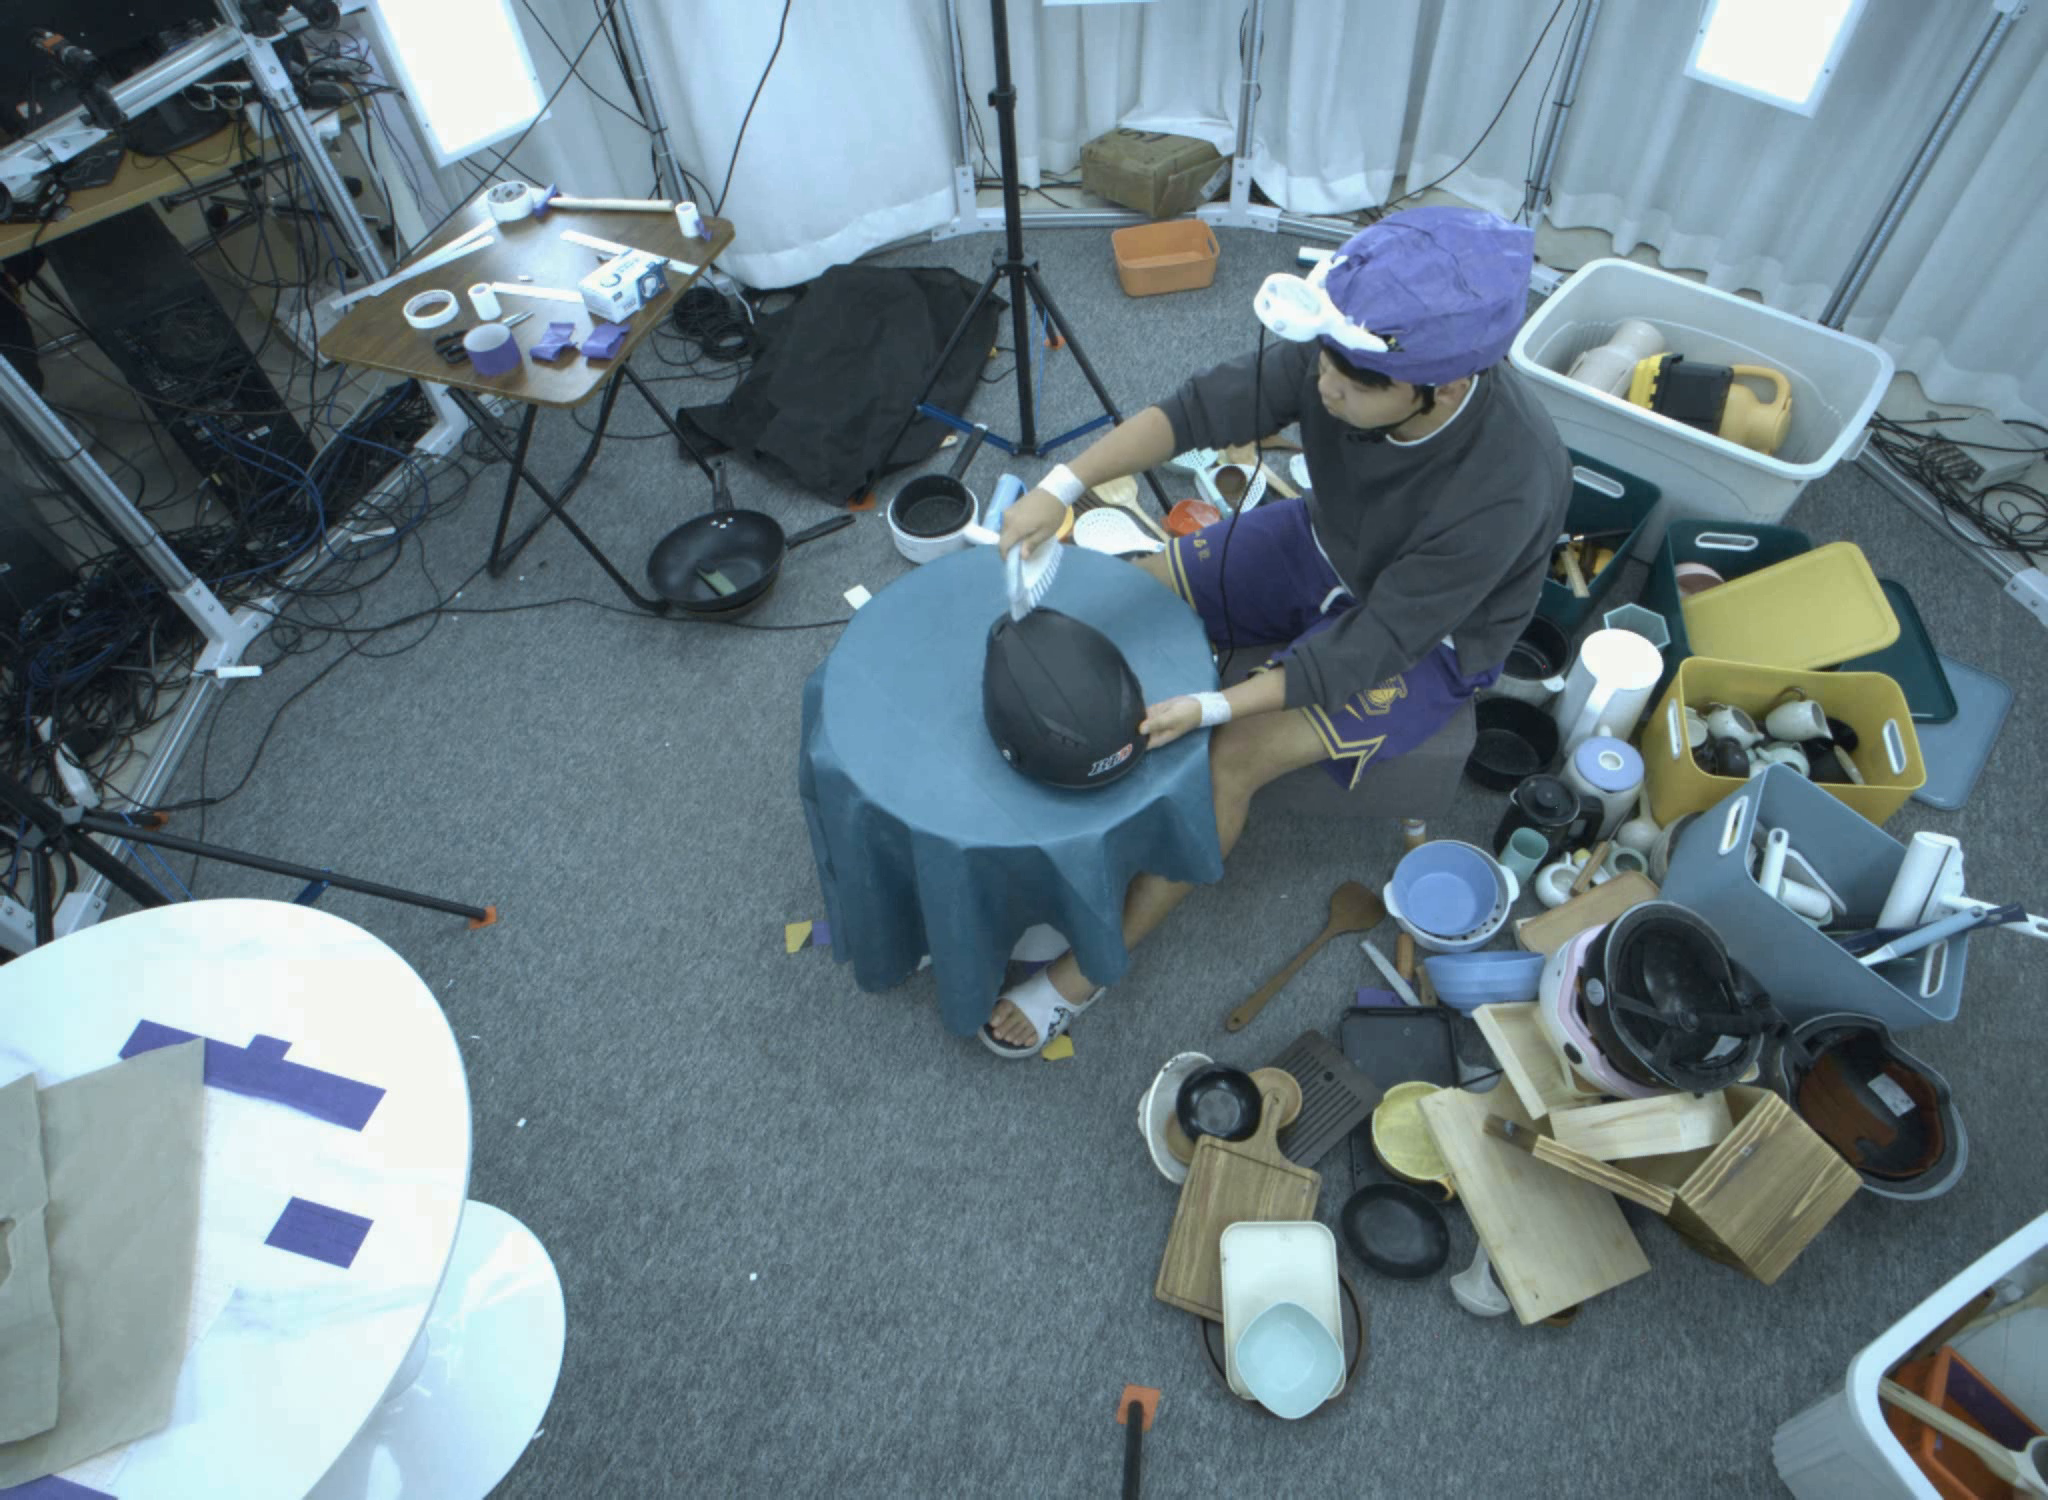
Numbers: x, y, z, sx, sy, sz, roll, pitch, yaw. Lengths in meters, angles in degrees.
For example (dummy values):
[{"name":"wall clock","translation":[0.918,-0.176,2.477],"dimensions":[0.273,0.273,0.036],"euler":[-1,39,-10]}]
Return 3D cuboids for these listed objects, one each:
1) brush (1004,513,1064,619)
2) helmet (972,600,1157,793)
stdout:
[{"name":"brush","translation":[0.003,-0.276,1.783],"dimensions":[0.060,0.096,0.175],"euler":[-3,45,26]},{"name":"helmet","translation":[0.051,-0.085,1.751],"dimensions":[0.248,0.174,0.271],"euler":[-27,53,-15]}]
